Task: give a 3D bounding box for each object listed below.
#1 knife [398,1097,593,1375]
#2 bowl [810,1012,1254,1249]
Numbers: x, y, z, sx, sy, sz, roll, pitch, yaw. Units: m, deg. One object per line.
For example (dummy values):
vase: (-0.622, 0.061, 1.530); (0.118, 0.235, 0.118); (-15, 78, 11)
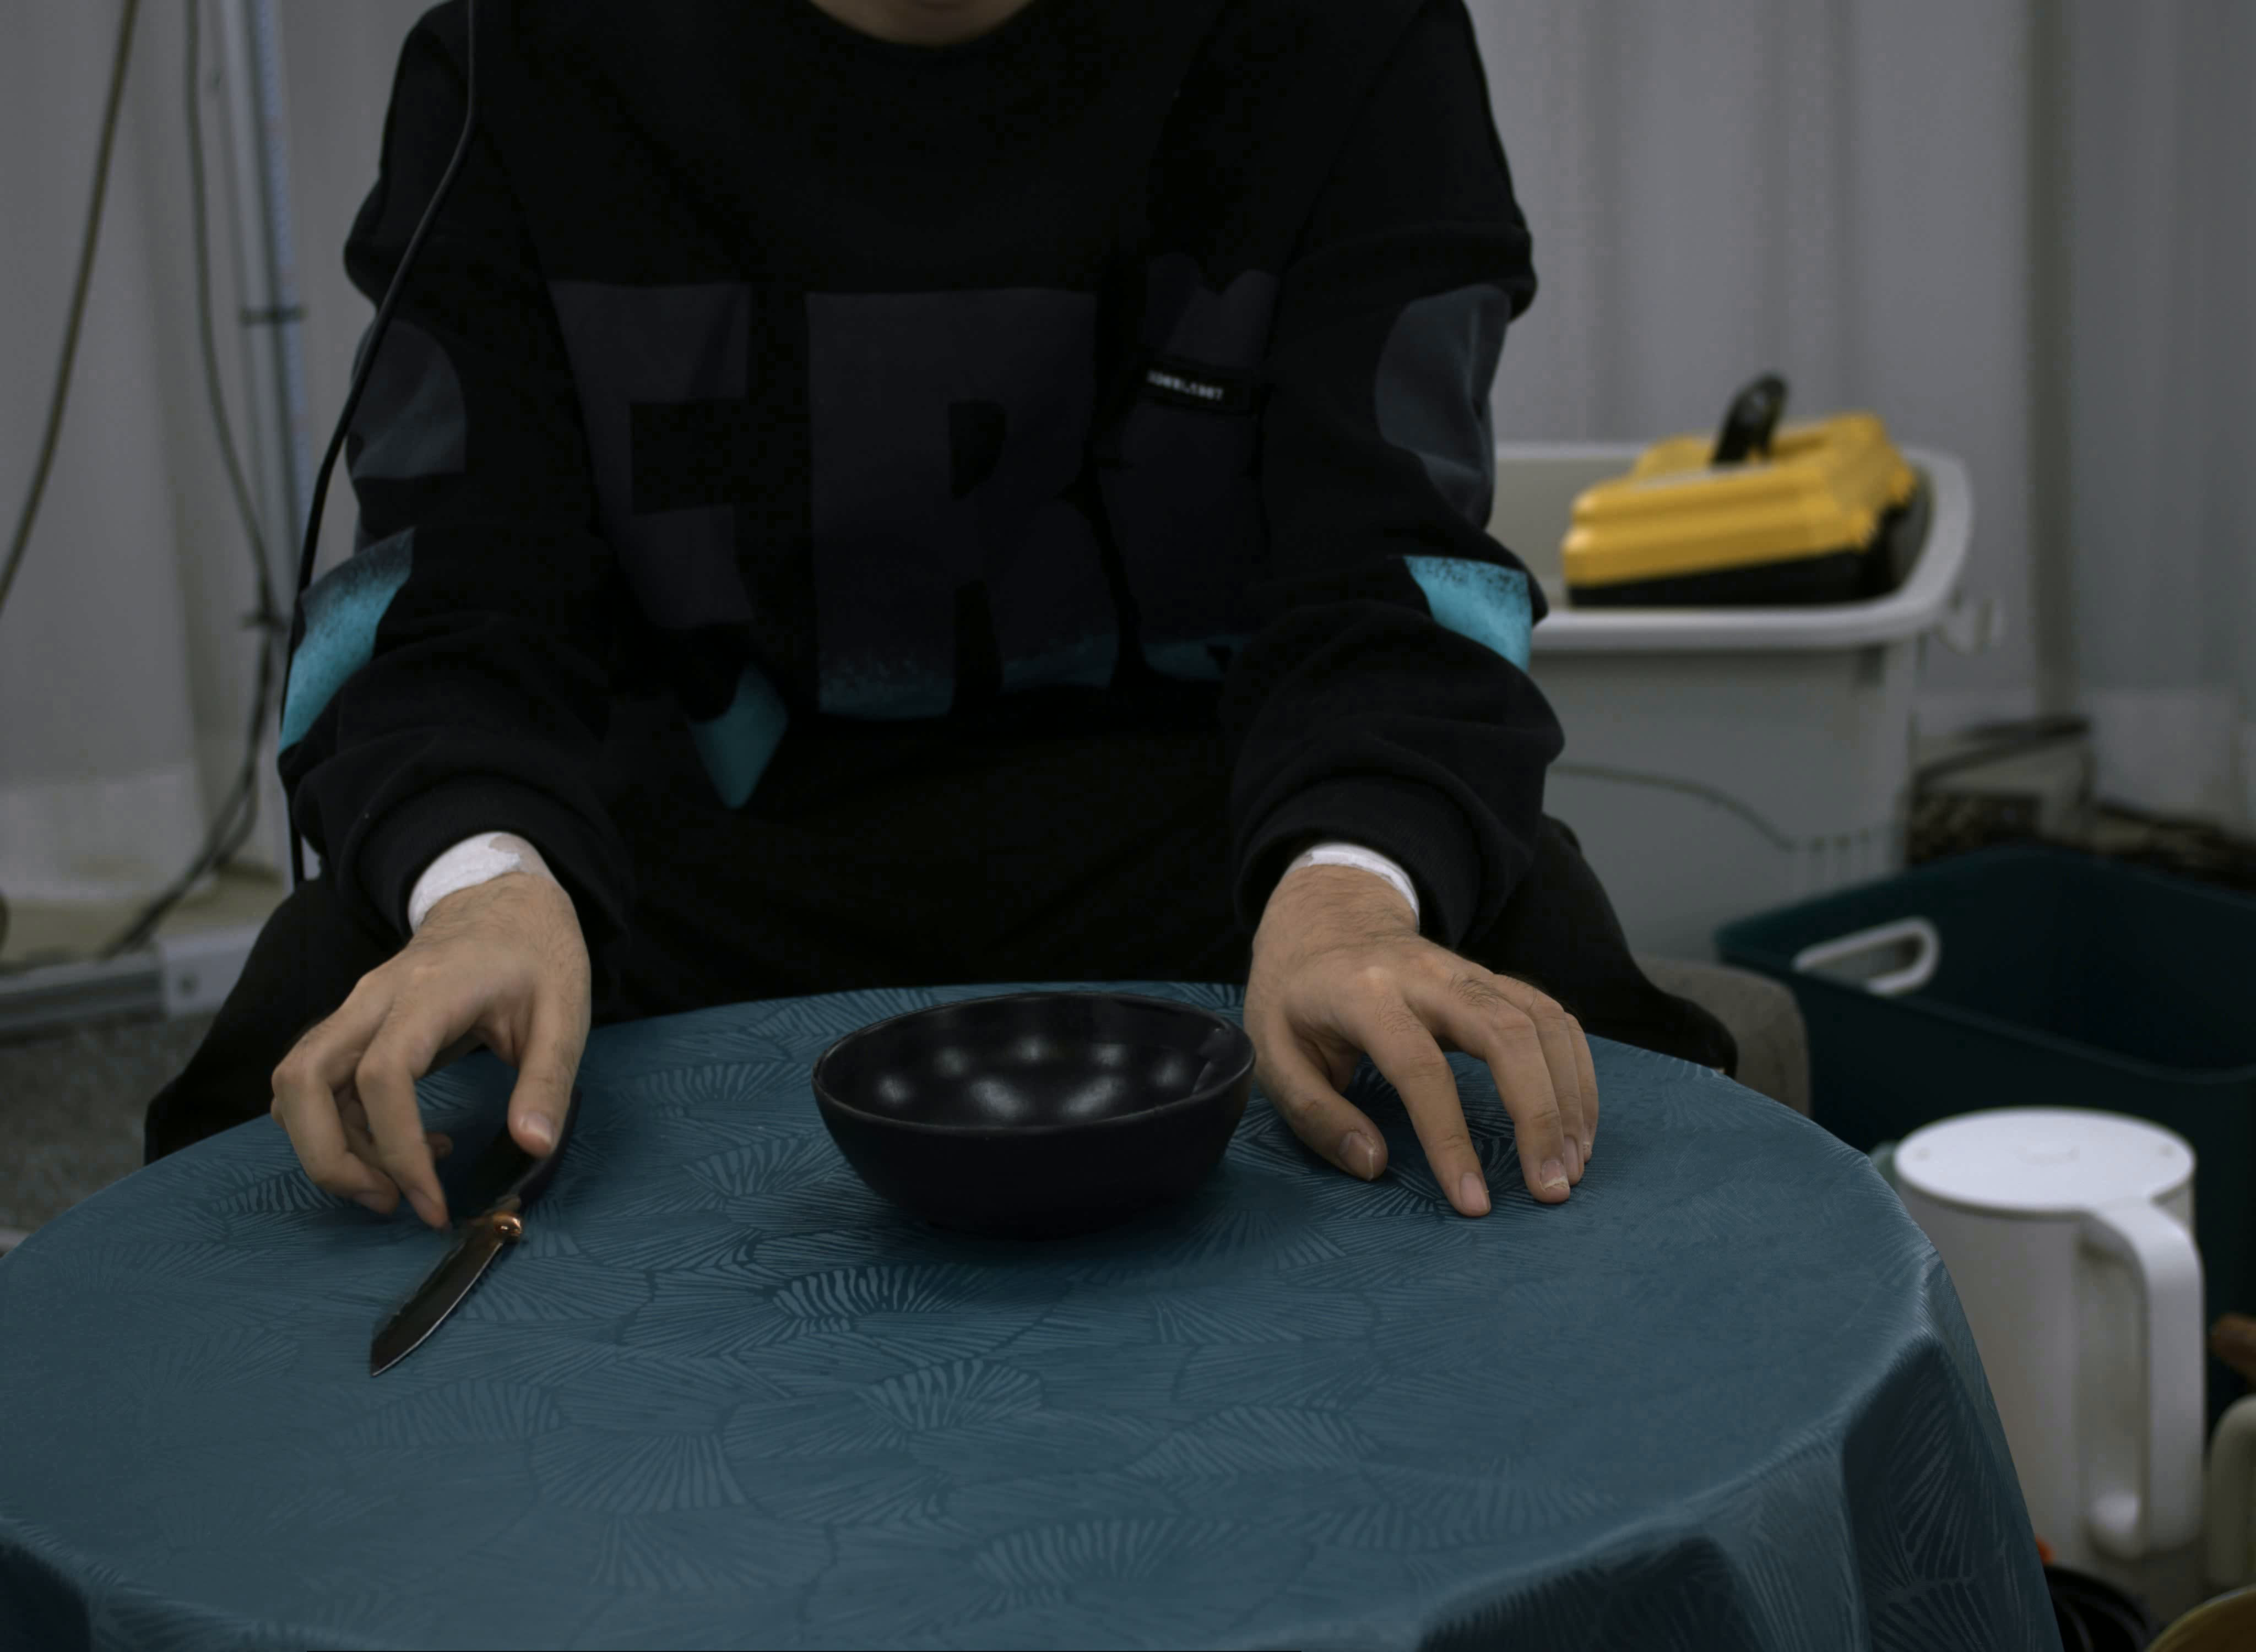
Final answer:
knife: (-0.198, 0.126, 1.690); (0.026, 0.017, 0.227); (1, 17, 8)
bowl: (-0.028, 0.098, 1.699); (0.139, 0.049, 0.141); (-5, 11, 1)
